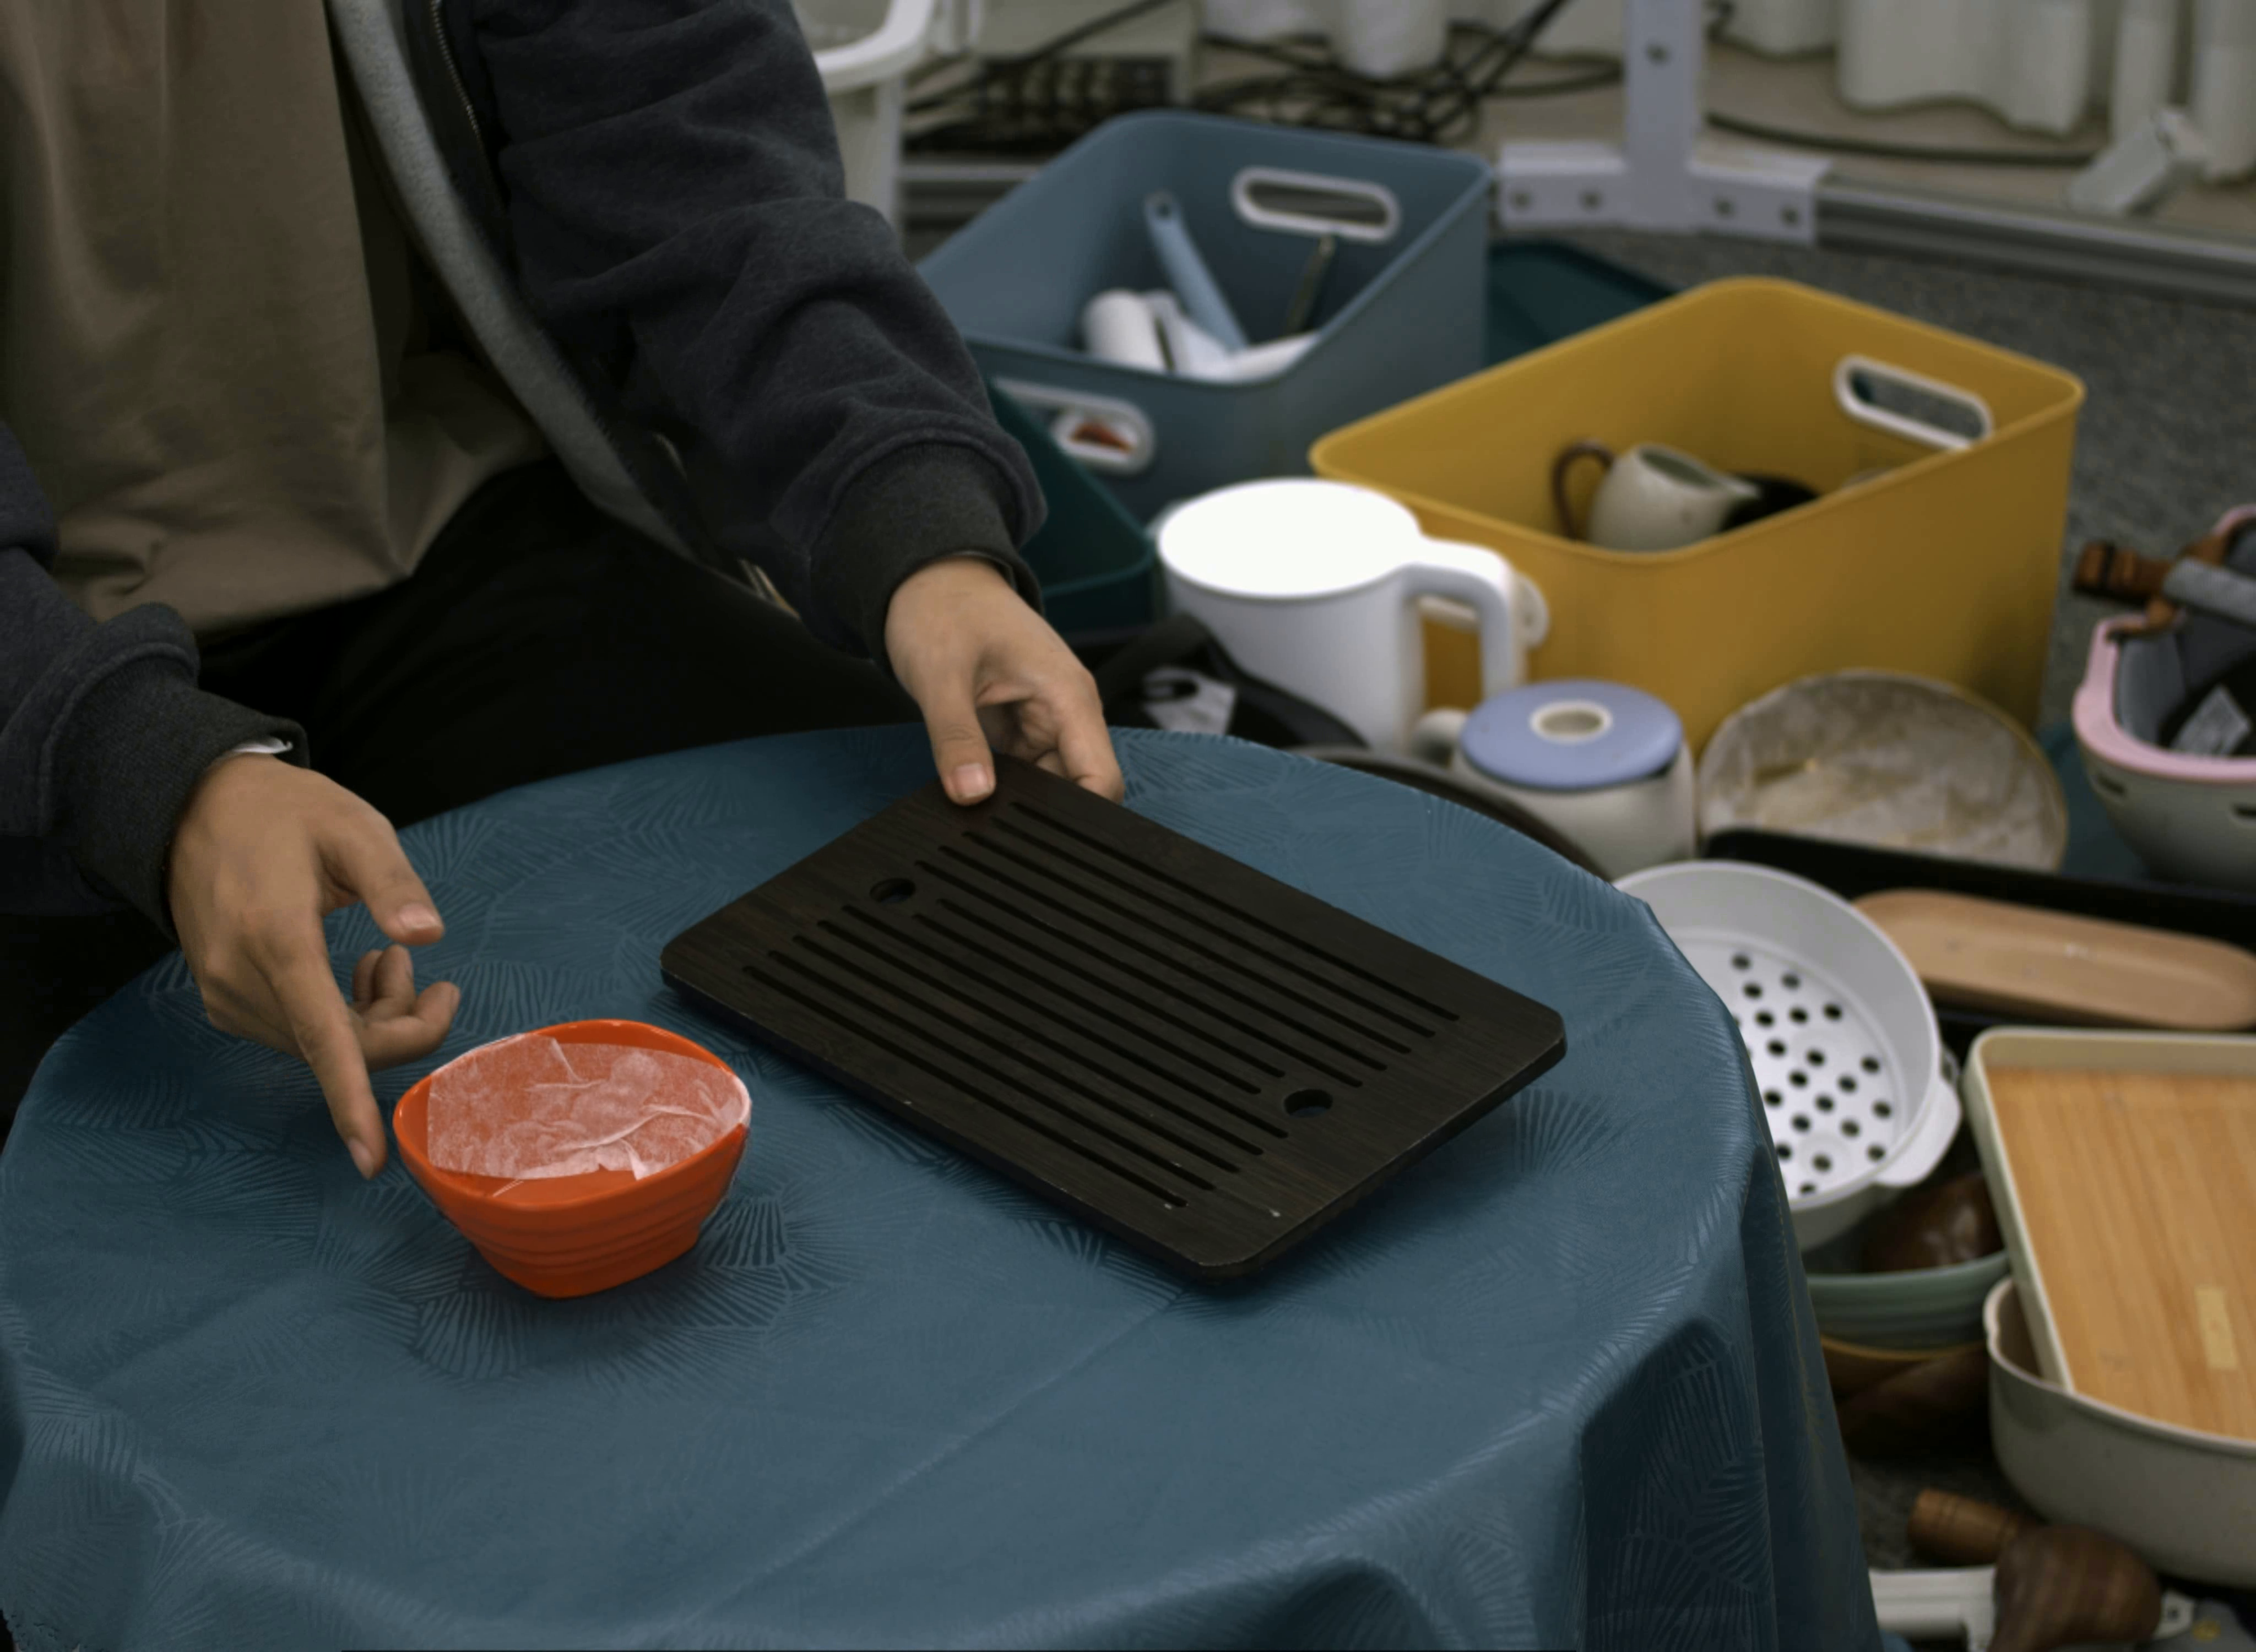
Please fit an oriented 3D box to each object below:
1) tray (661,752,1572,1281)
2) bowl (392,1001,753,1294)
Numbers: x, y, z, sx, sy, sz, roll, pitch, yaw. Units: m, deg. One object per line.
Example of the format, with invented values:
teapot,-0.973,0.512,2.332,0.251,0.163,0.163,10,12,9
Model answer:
tray,-0.008,0.062,1.937,0.172,0.018,0.306,-32,38,-31
bowl,-0.180,0.110,1.839,0.118,0.051,0.121,-1,31,1
